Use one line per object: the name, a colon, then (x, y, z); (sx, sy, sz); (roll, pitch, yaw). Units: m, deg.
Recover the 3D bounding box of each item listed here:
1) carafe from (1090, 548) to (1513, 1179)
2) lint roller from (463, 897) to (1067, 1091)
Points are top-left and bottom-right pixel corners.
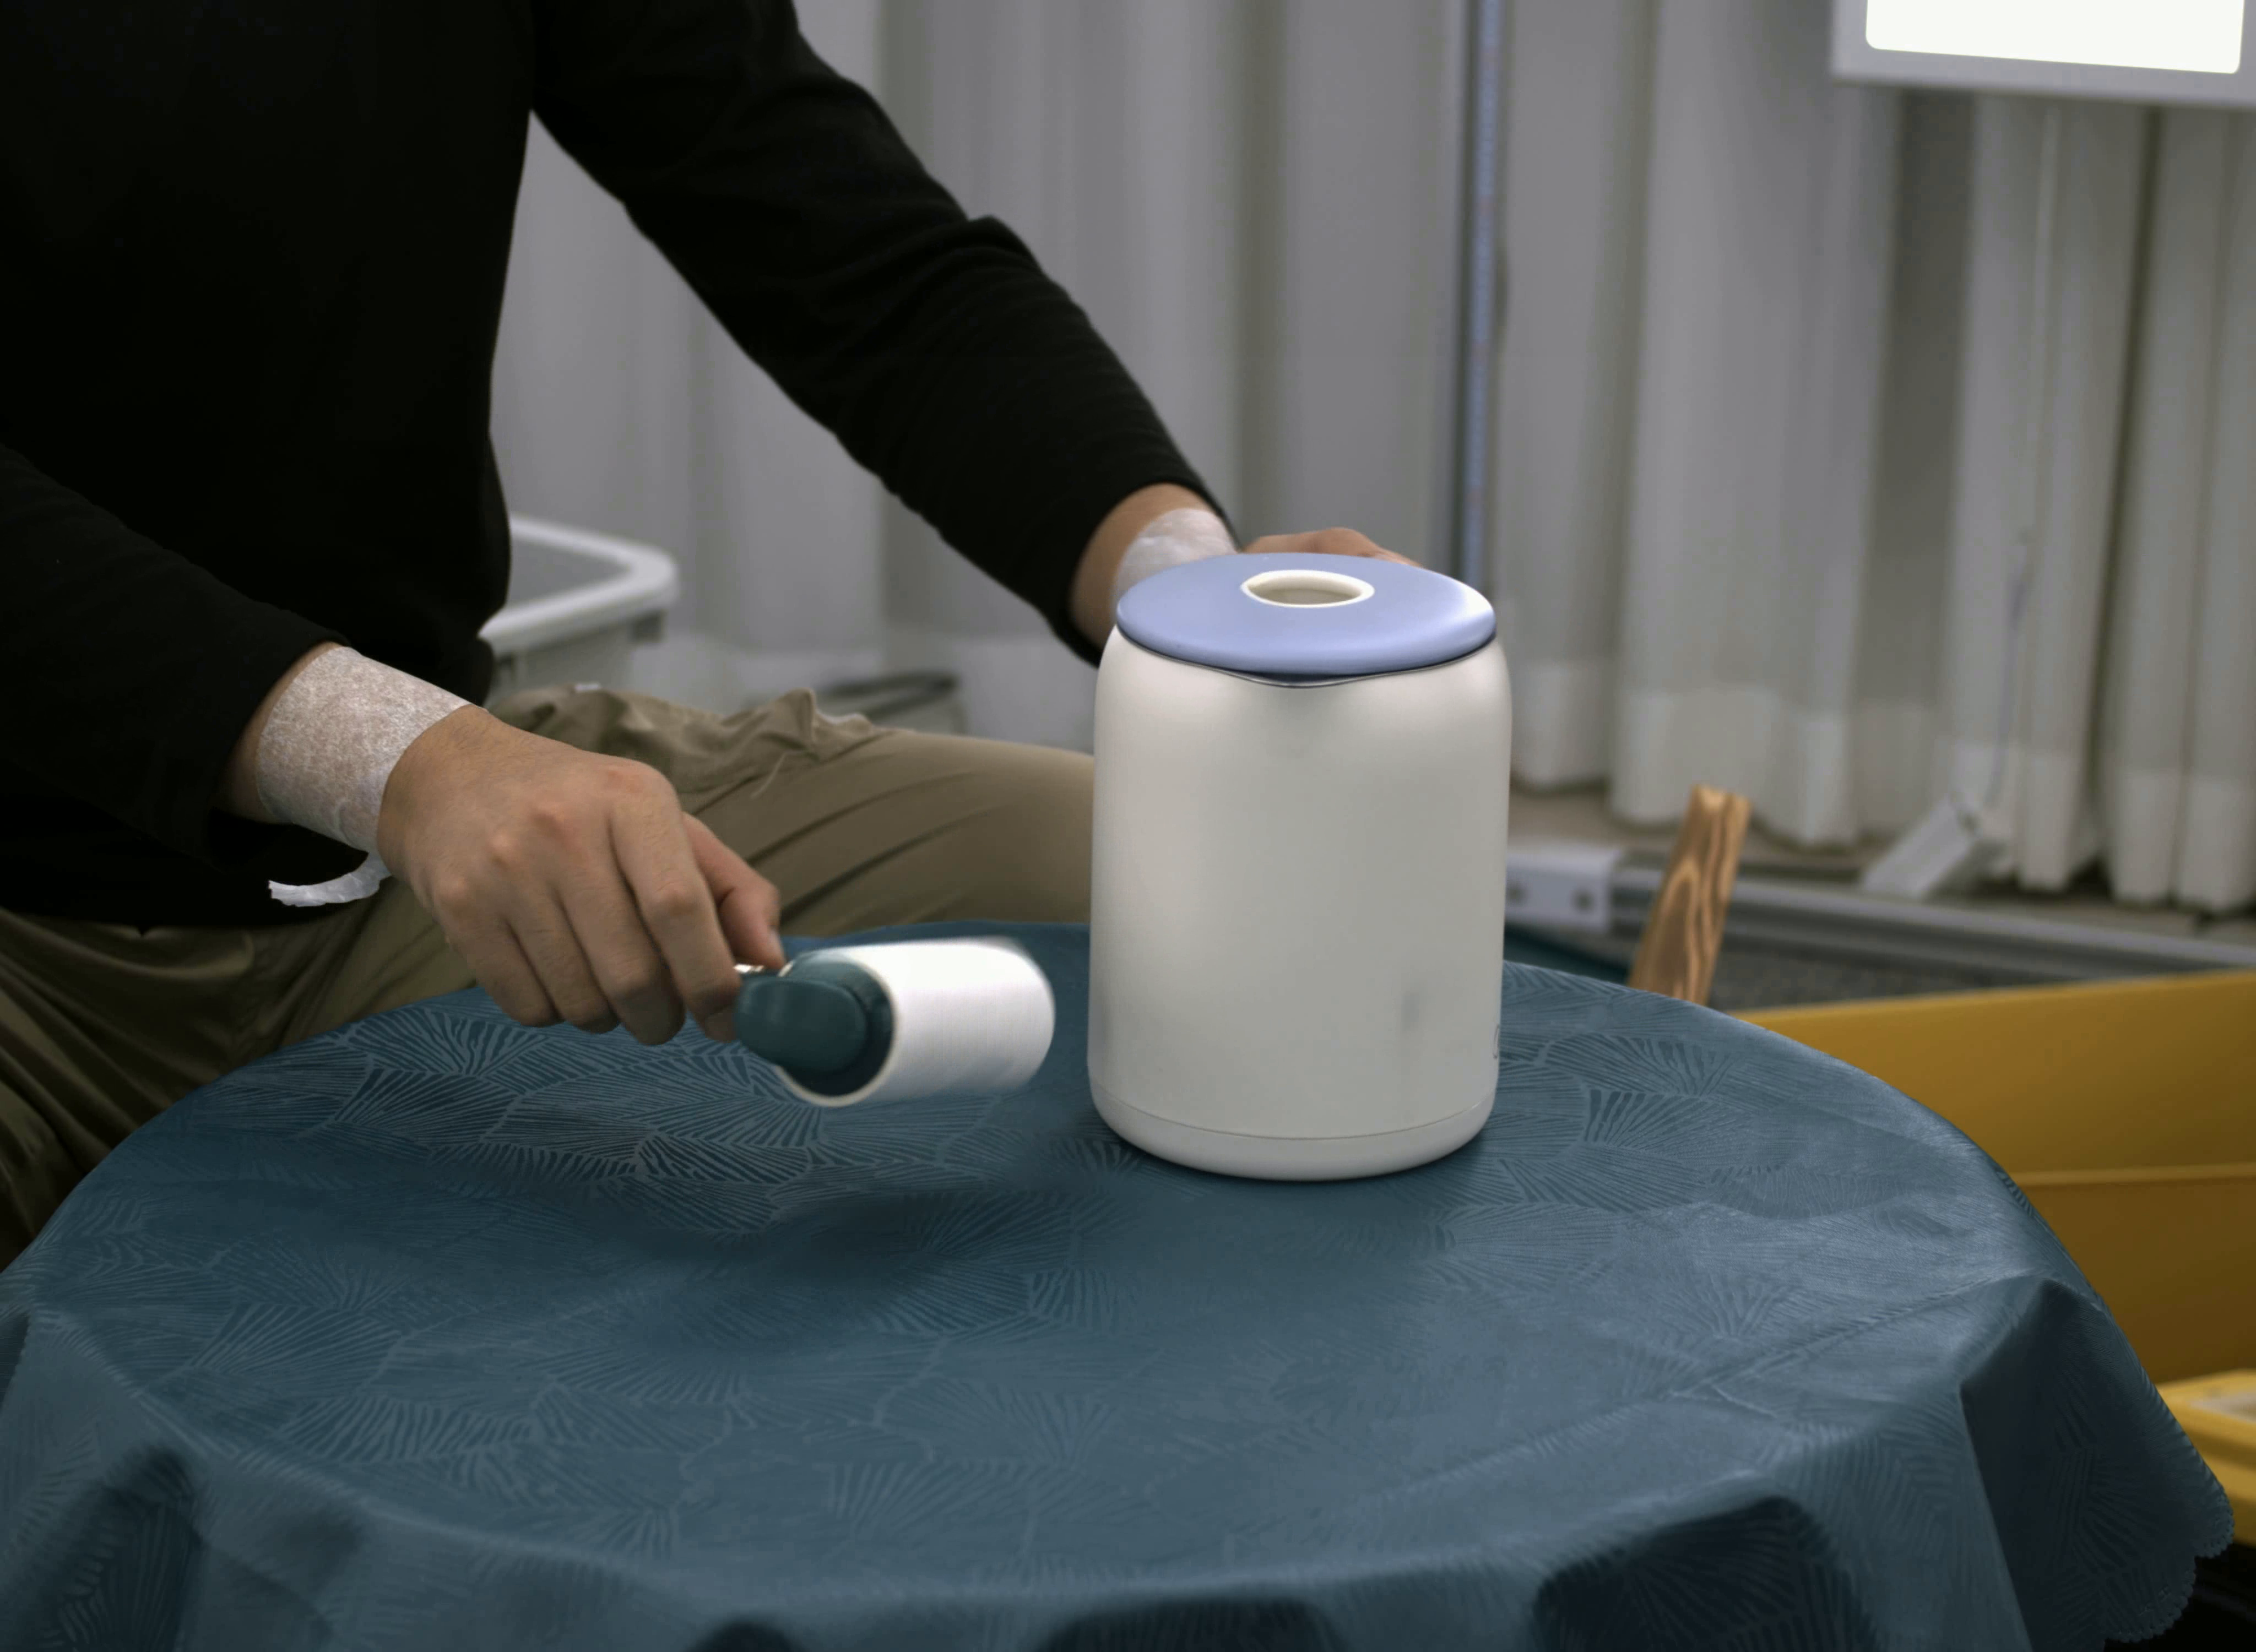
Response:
carafe: (0.057, 0.004, 1.680); (0.131, 0.184, 0.190); (3, 16, 4)
lint roller: (-0.123, 0.043, 1.599); (0.178, 0.048, 0.135); (6, 8, 24)
